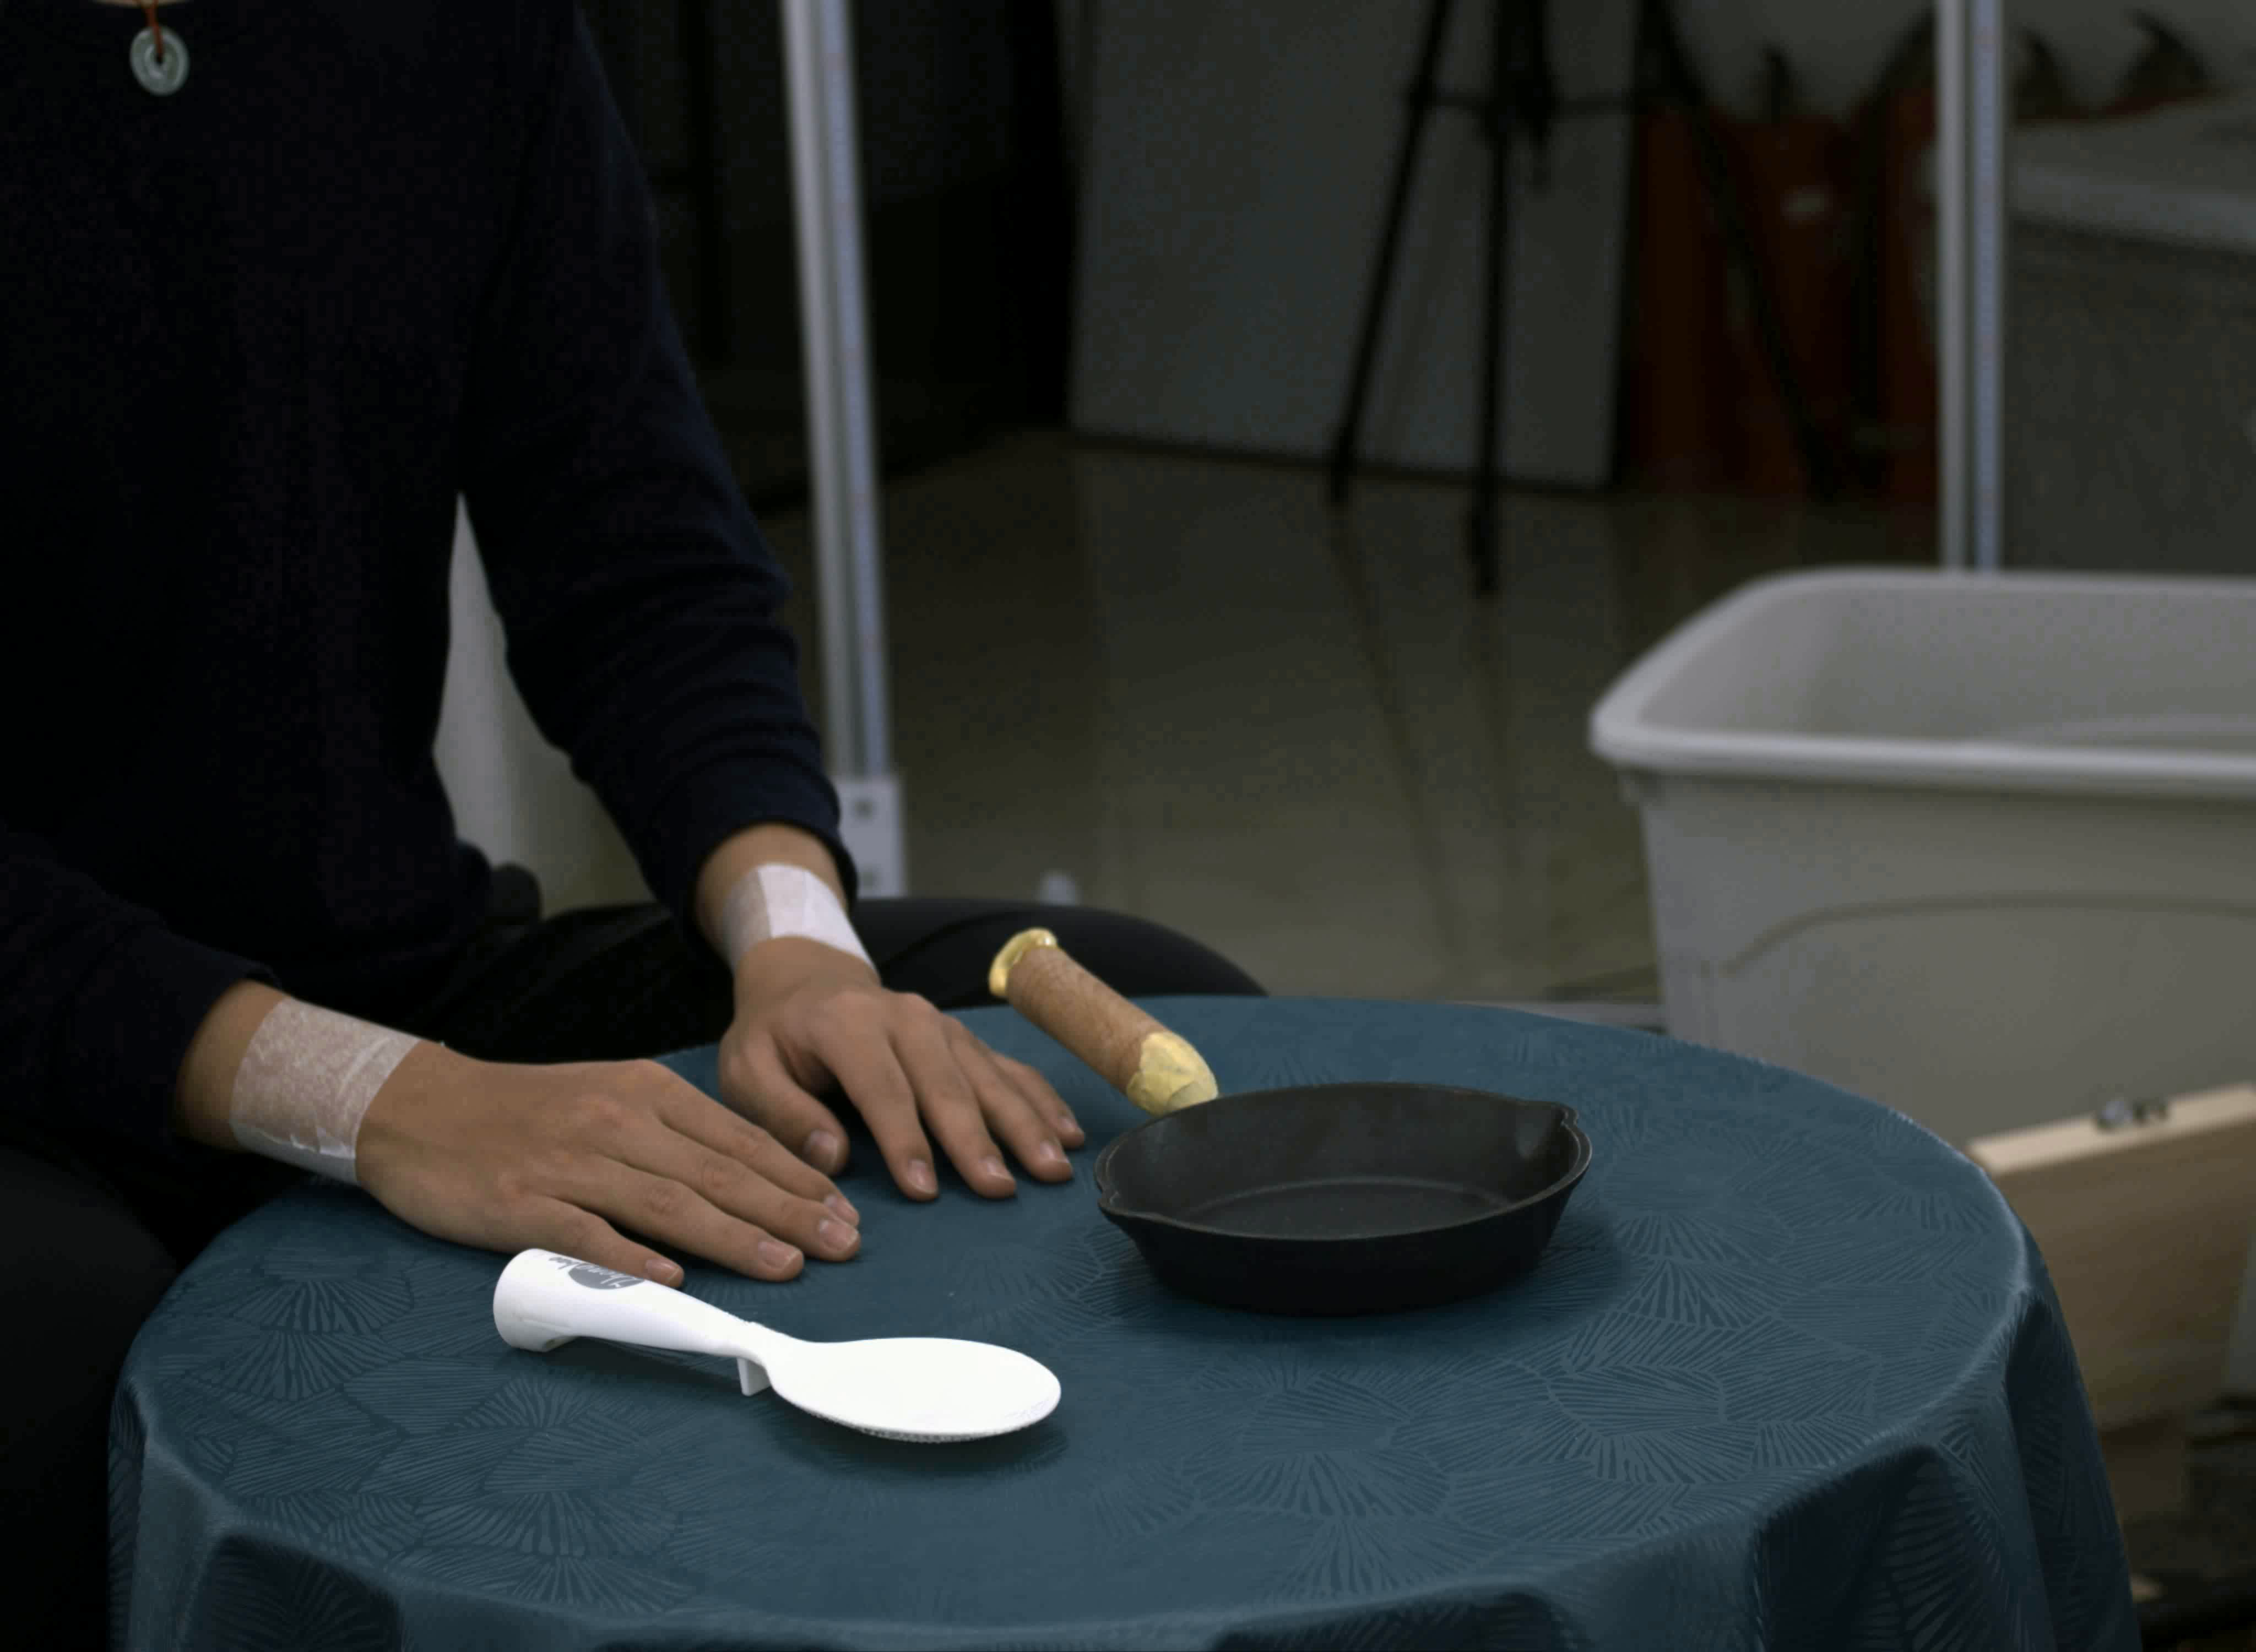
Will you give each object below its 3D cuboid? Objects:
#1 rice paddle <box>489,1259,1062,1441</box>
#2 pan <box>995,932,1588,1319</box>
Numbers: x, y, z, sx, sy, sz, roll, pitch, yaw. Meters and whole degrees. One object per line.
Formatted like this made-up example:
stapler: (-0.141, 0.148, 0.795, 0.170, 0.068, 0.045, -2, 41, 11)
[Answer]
rice paddle: (-0.105, 0.156, 1.601, 0.207, 0.030, 0.067, 6, 19, 38)
pan: (0.032, 0.094, 1.766, 0.165, 0.050, 0.327, -10, 16, -23)
